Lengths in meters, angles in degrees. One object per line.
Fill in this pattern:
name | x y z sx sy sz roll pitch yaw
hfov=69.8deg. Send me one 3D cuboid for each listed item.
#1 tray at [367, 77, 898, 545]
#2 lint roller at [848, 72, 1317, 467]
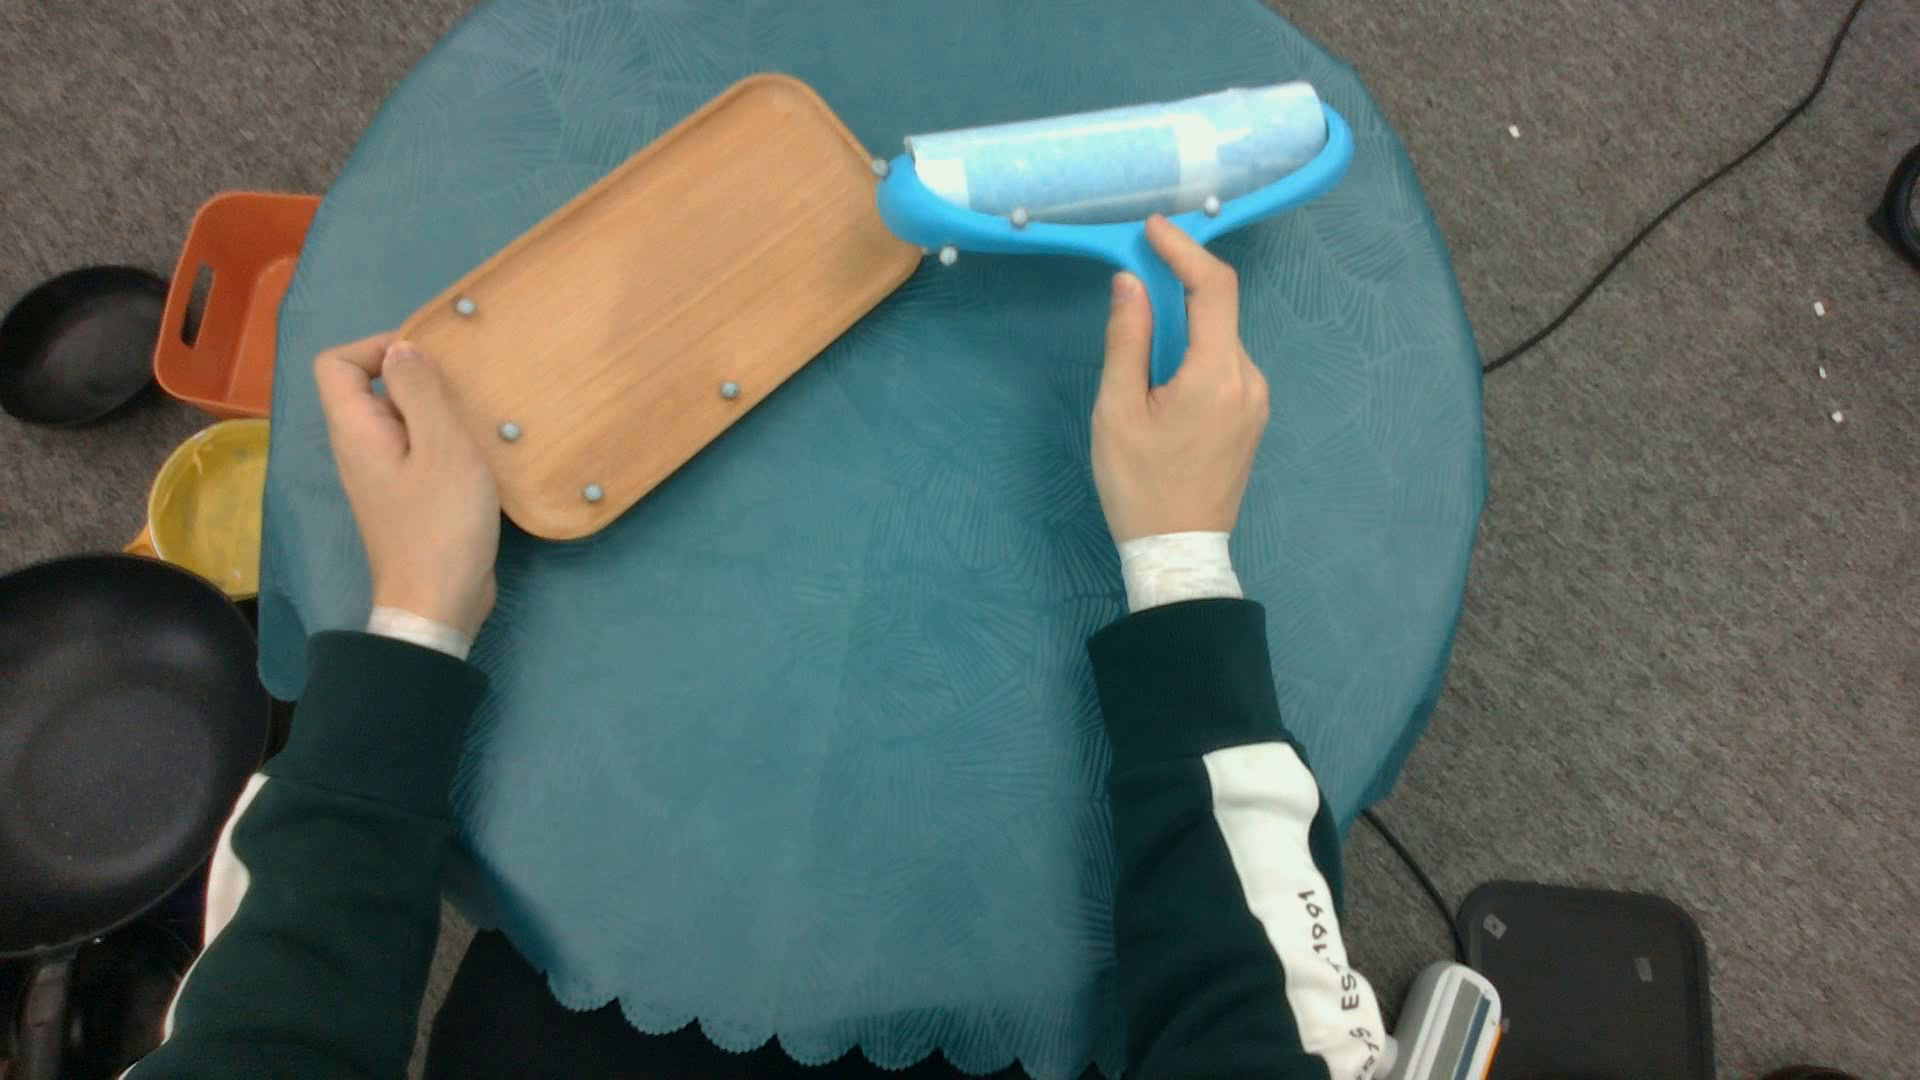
tray | -0.150 -0.114 0.661 0.251 0.023 0.130 -44 94 -20
lint roller | 0.075 -0.128 0.646 0.229 0.067 0.180 -13 74 -10
